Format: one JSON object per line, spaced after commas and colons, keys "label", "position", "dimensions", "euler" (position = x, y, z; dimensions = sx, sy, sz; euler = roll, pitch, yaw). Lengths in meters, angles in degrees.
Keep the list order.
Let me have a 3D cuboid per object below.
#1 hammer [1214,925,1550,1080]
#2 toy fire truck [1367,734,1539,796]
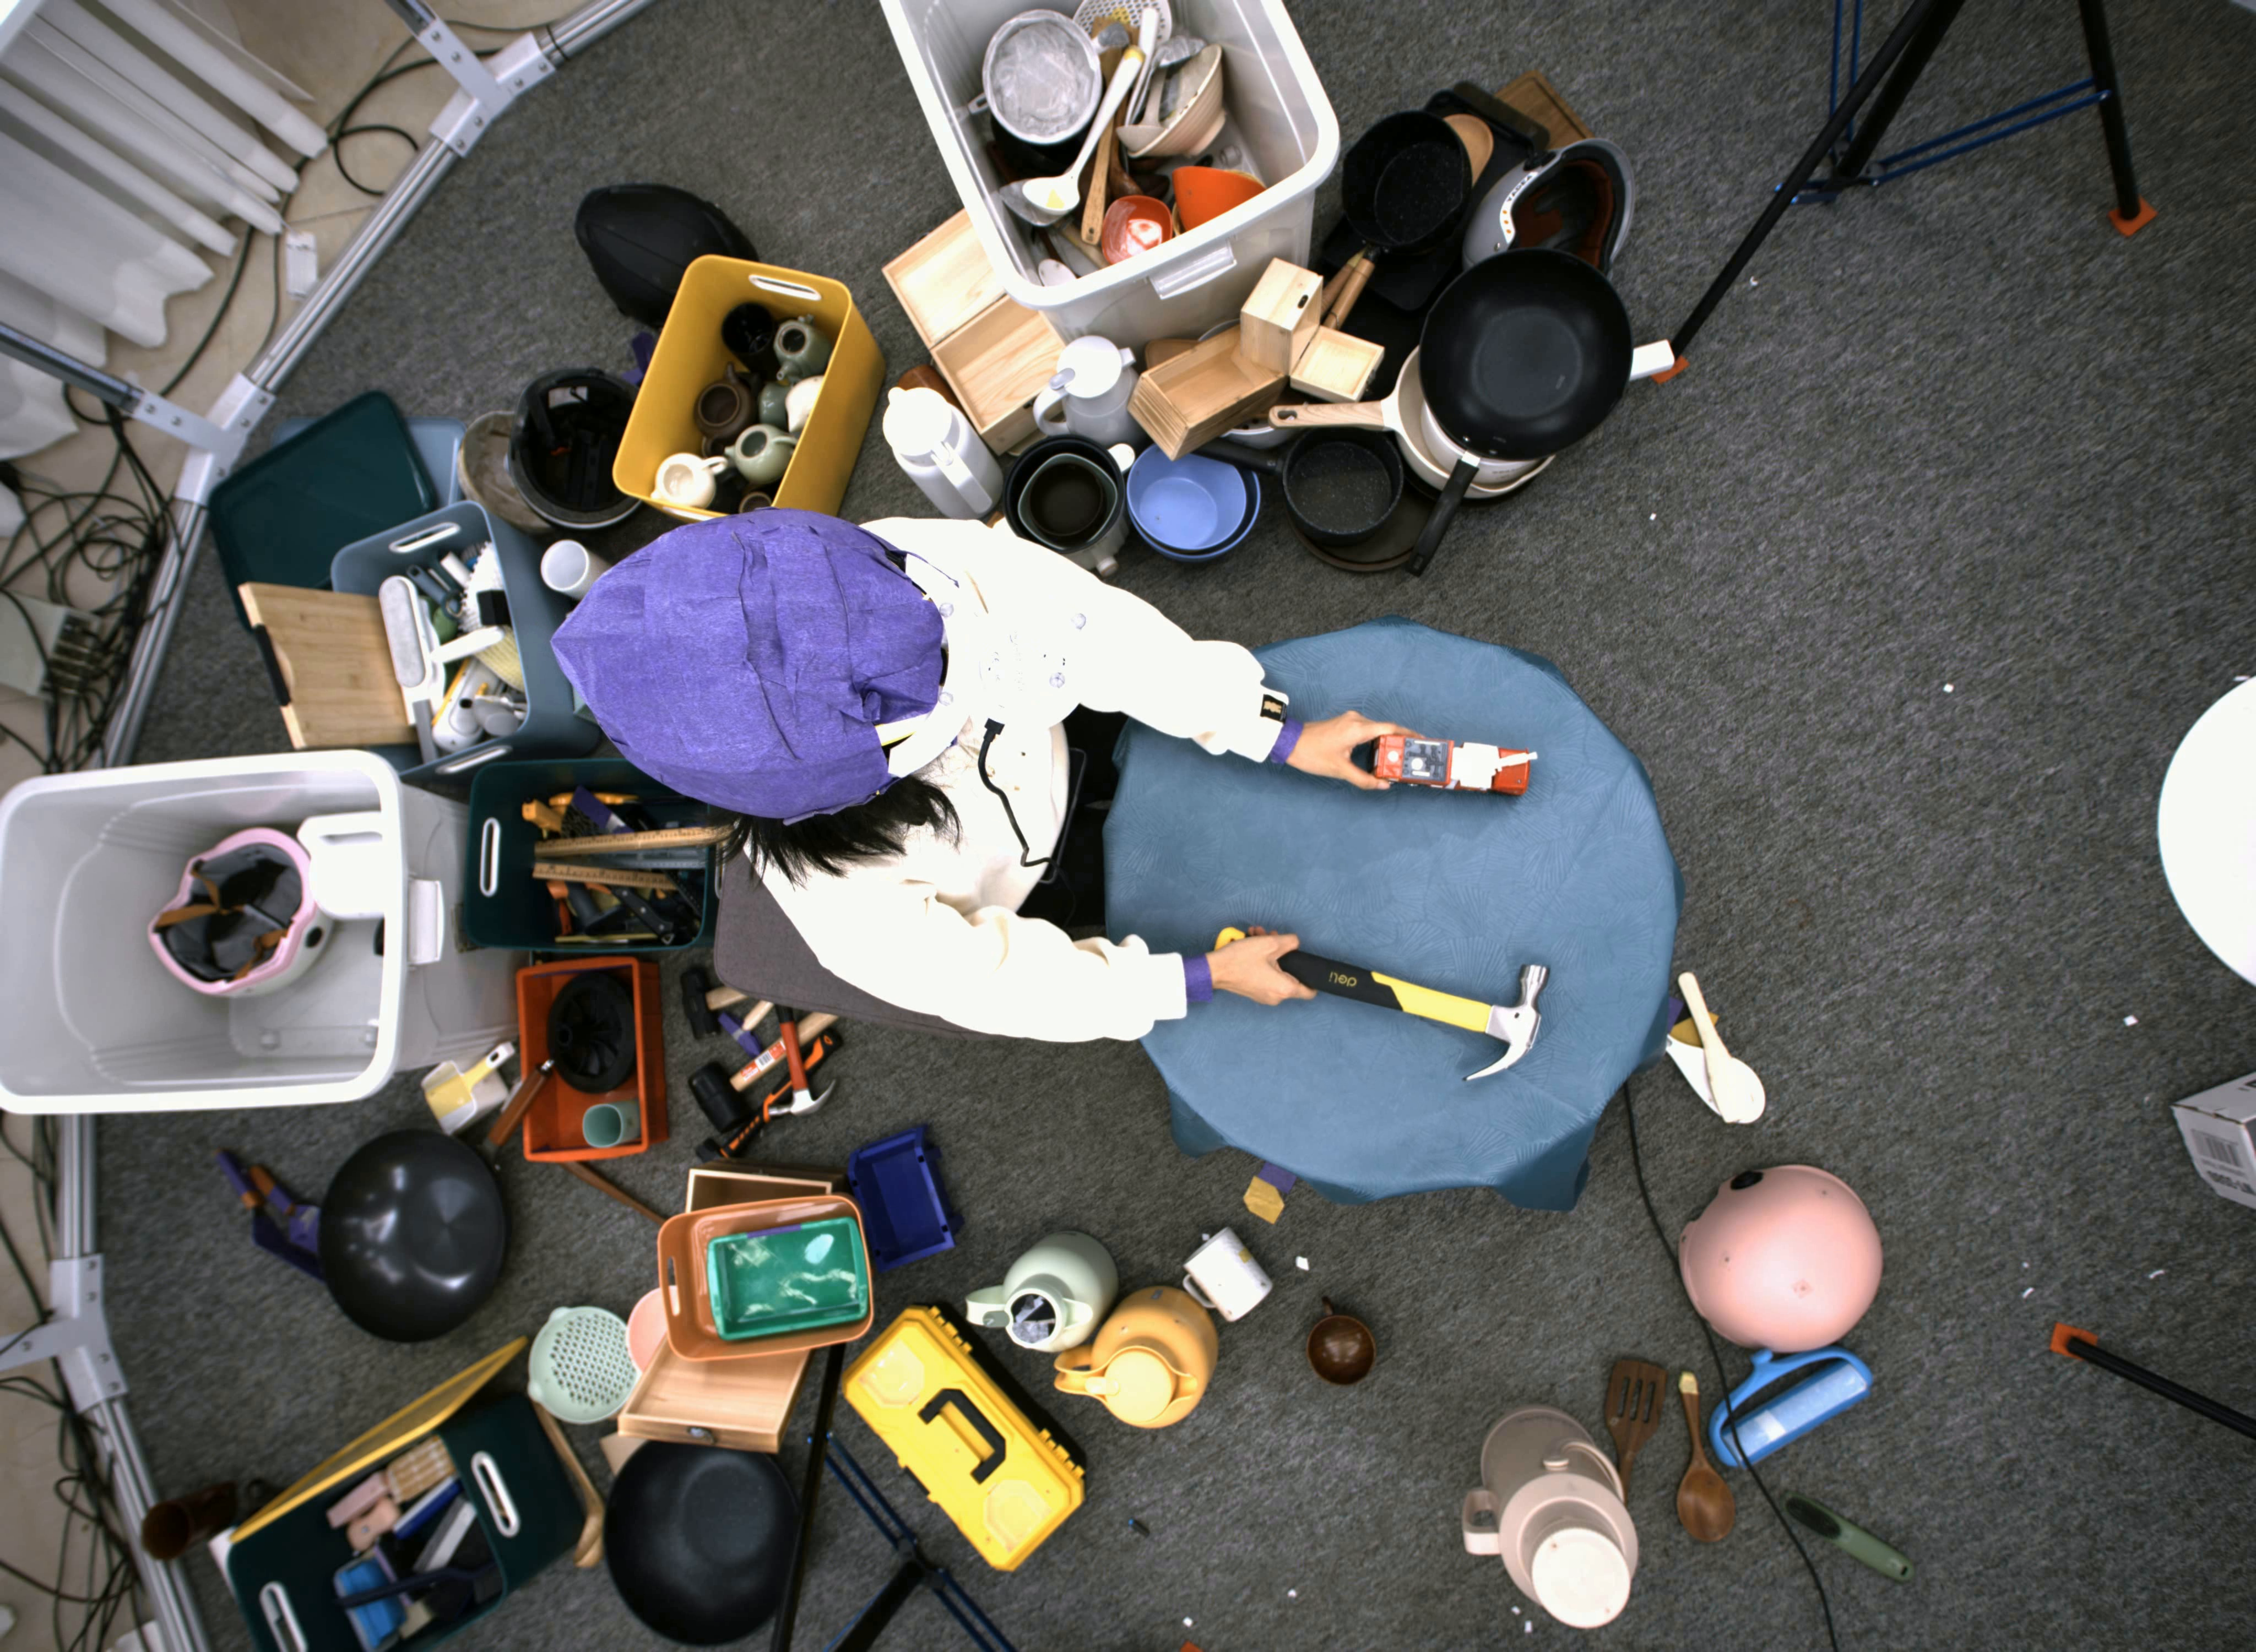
{"label": "hammer", "position": [0.253, 0.164, 1.424], "dimensions": [0.339, 0.032, 0.130], "euler": [16, 84, 10]}
{"label": "toy fire truck", "position": [0.334, -0.065, 1.421], "dimensions": [0.168, 0.070, 0.053], "euler": [5, 85, 6]}
